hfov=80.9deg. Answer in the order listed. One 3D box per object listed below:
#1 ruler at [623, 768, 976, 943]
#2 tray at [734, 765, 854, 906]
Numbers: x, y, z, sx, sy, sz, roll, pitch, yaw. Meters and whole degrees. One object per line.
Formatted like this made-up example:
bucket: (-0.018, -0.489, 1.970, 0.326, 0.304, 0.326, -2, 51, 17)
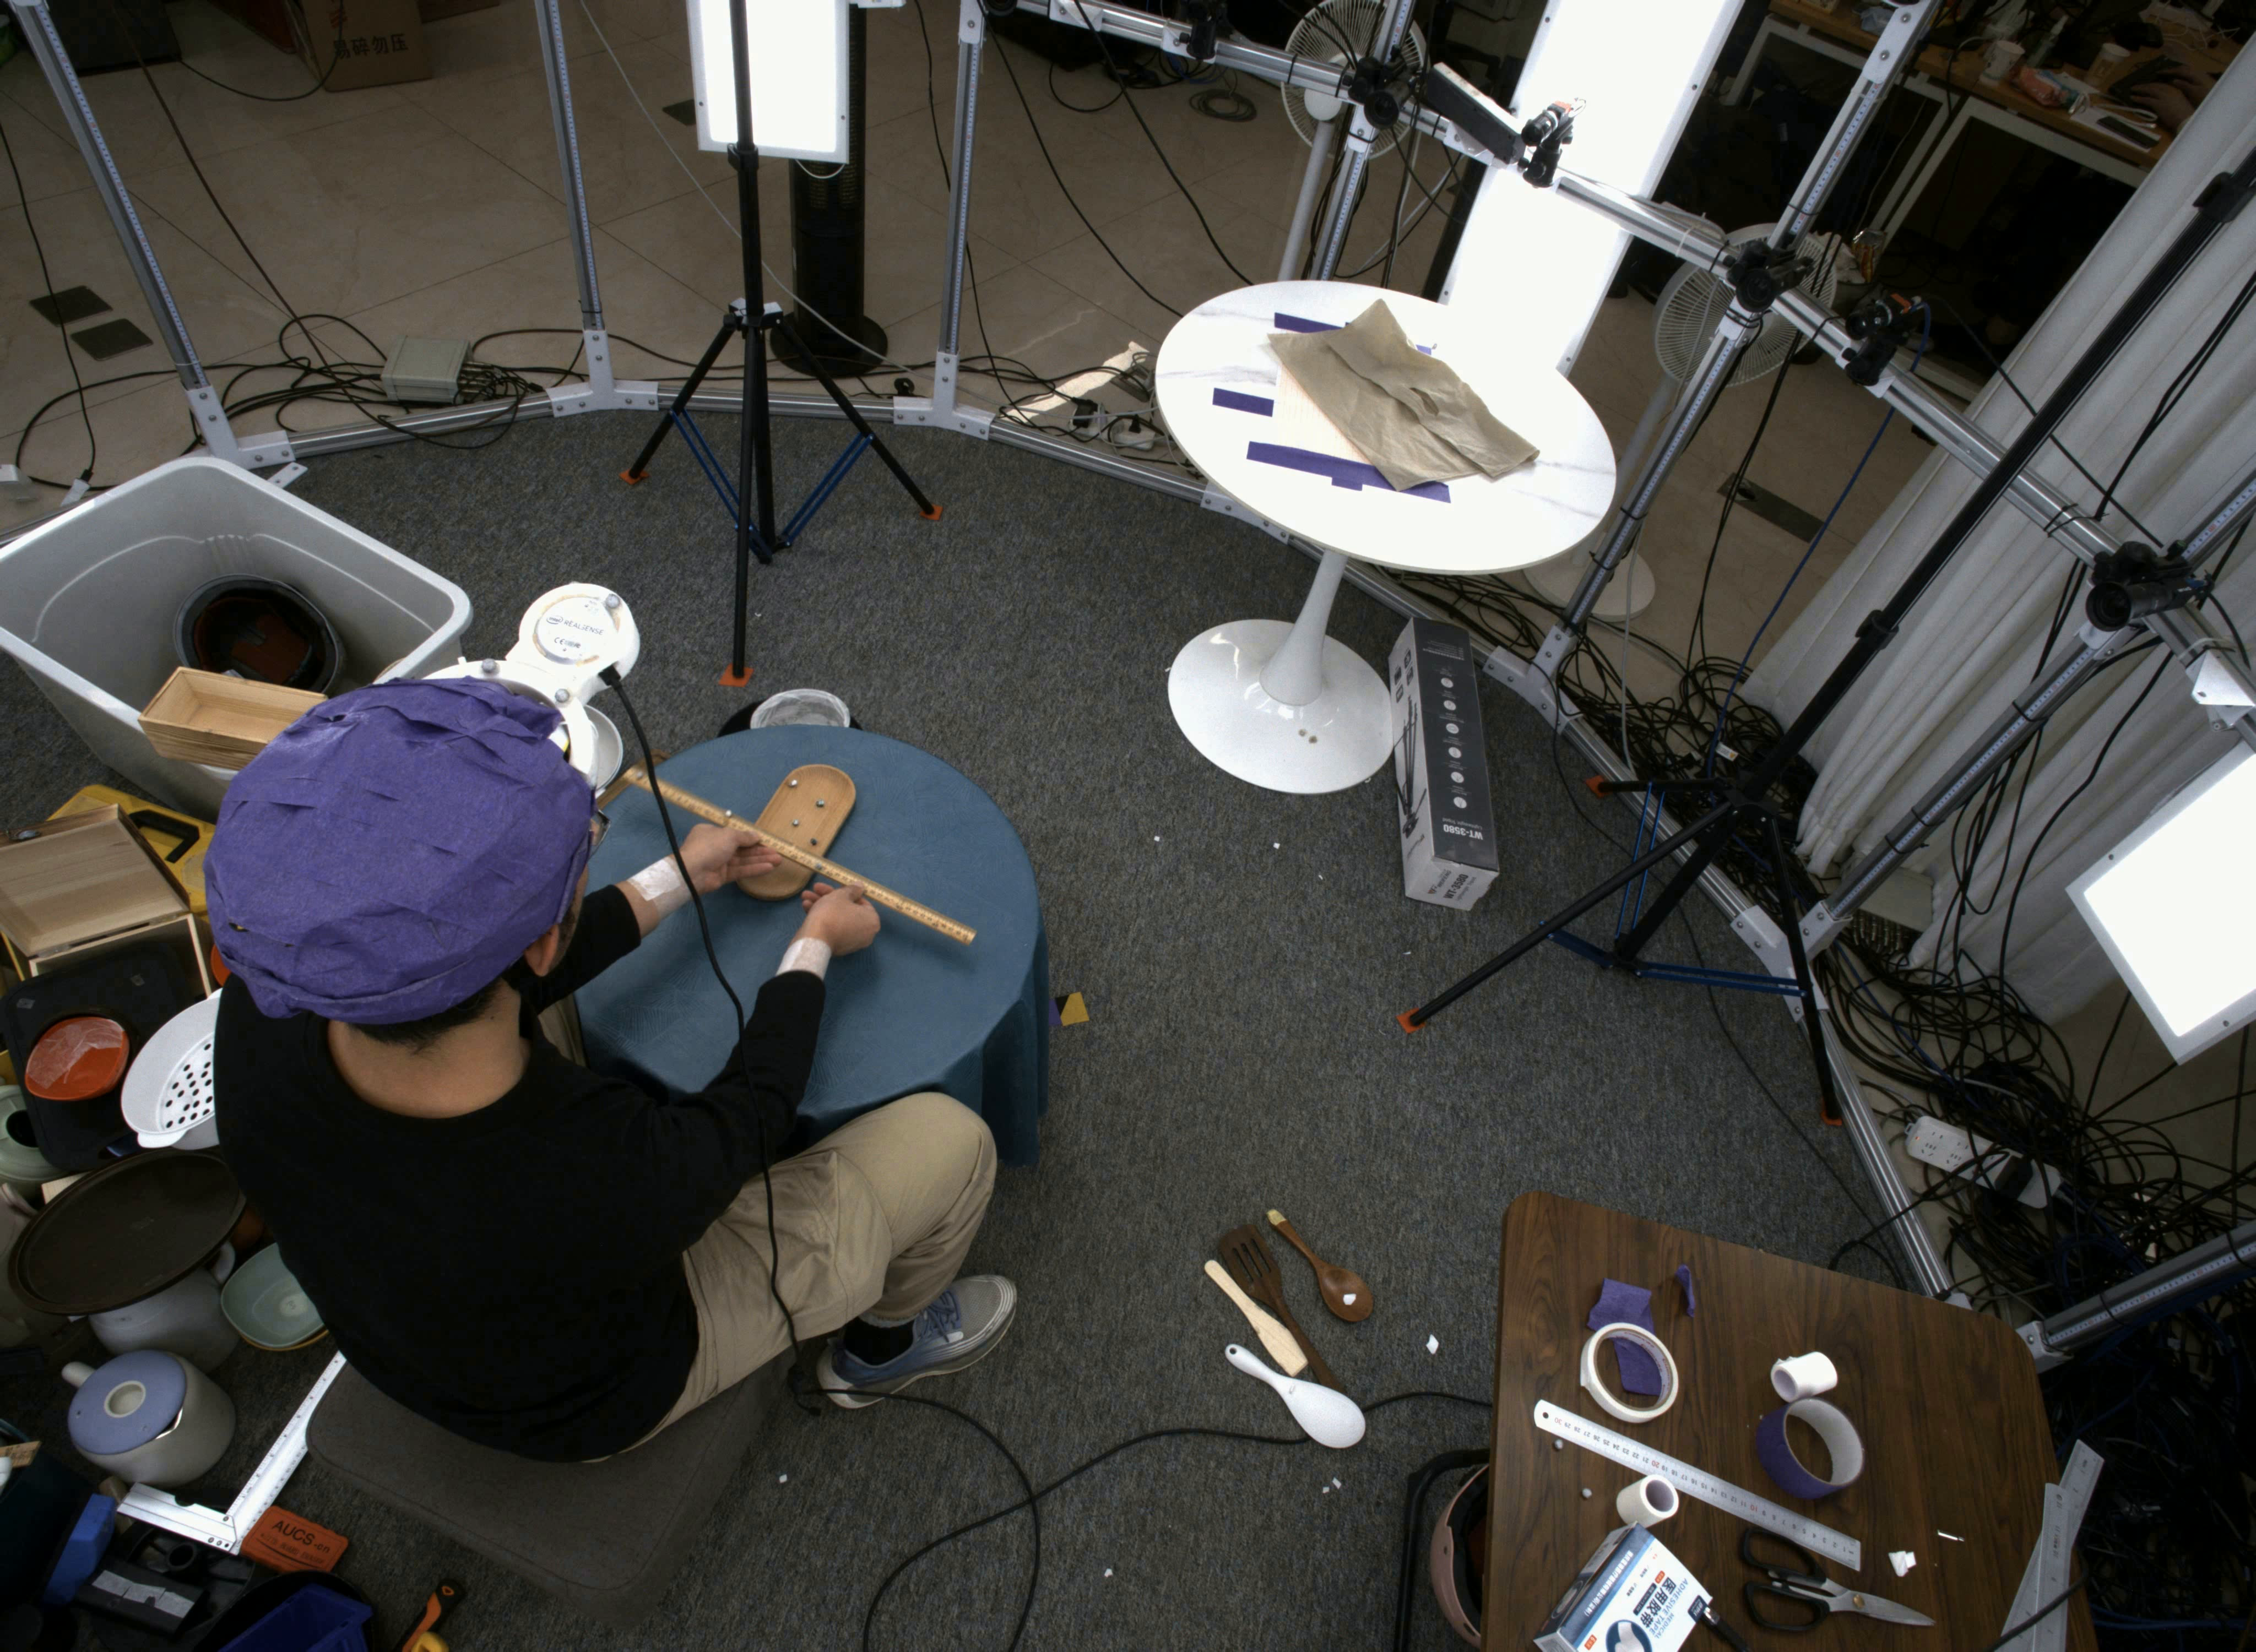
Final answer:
ruler: (-0.420, 0.035, 1.635, 0.496, 0.006, 0.026, 25, 43, 1)
tray: (-0.435, 0.009, 1.699, 0.100, 0.021, 0.229, 18, 53, 1)
